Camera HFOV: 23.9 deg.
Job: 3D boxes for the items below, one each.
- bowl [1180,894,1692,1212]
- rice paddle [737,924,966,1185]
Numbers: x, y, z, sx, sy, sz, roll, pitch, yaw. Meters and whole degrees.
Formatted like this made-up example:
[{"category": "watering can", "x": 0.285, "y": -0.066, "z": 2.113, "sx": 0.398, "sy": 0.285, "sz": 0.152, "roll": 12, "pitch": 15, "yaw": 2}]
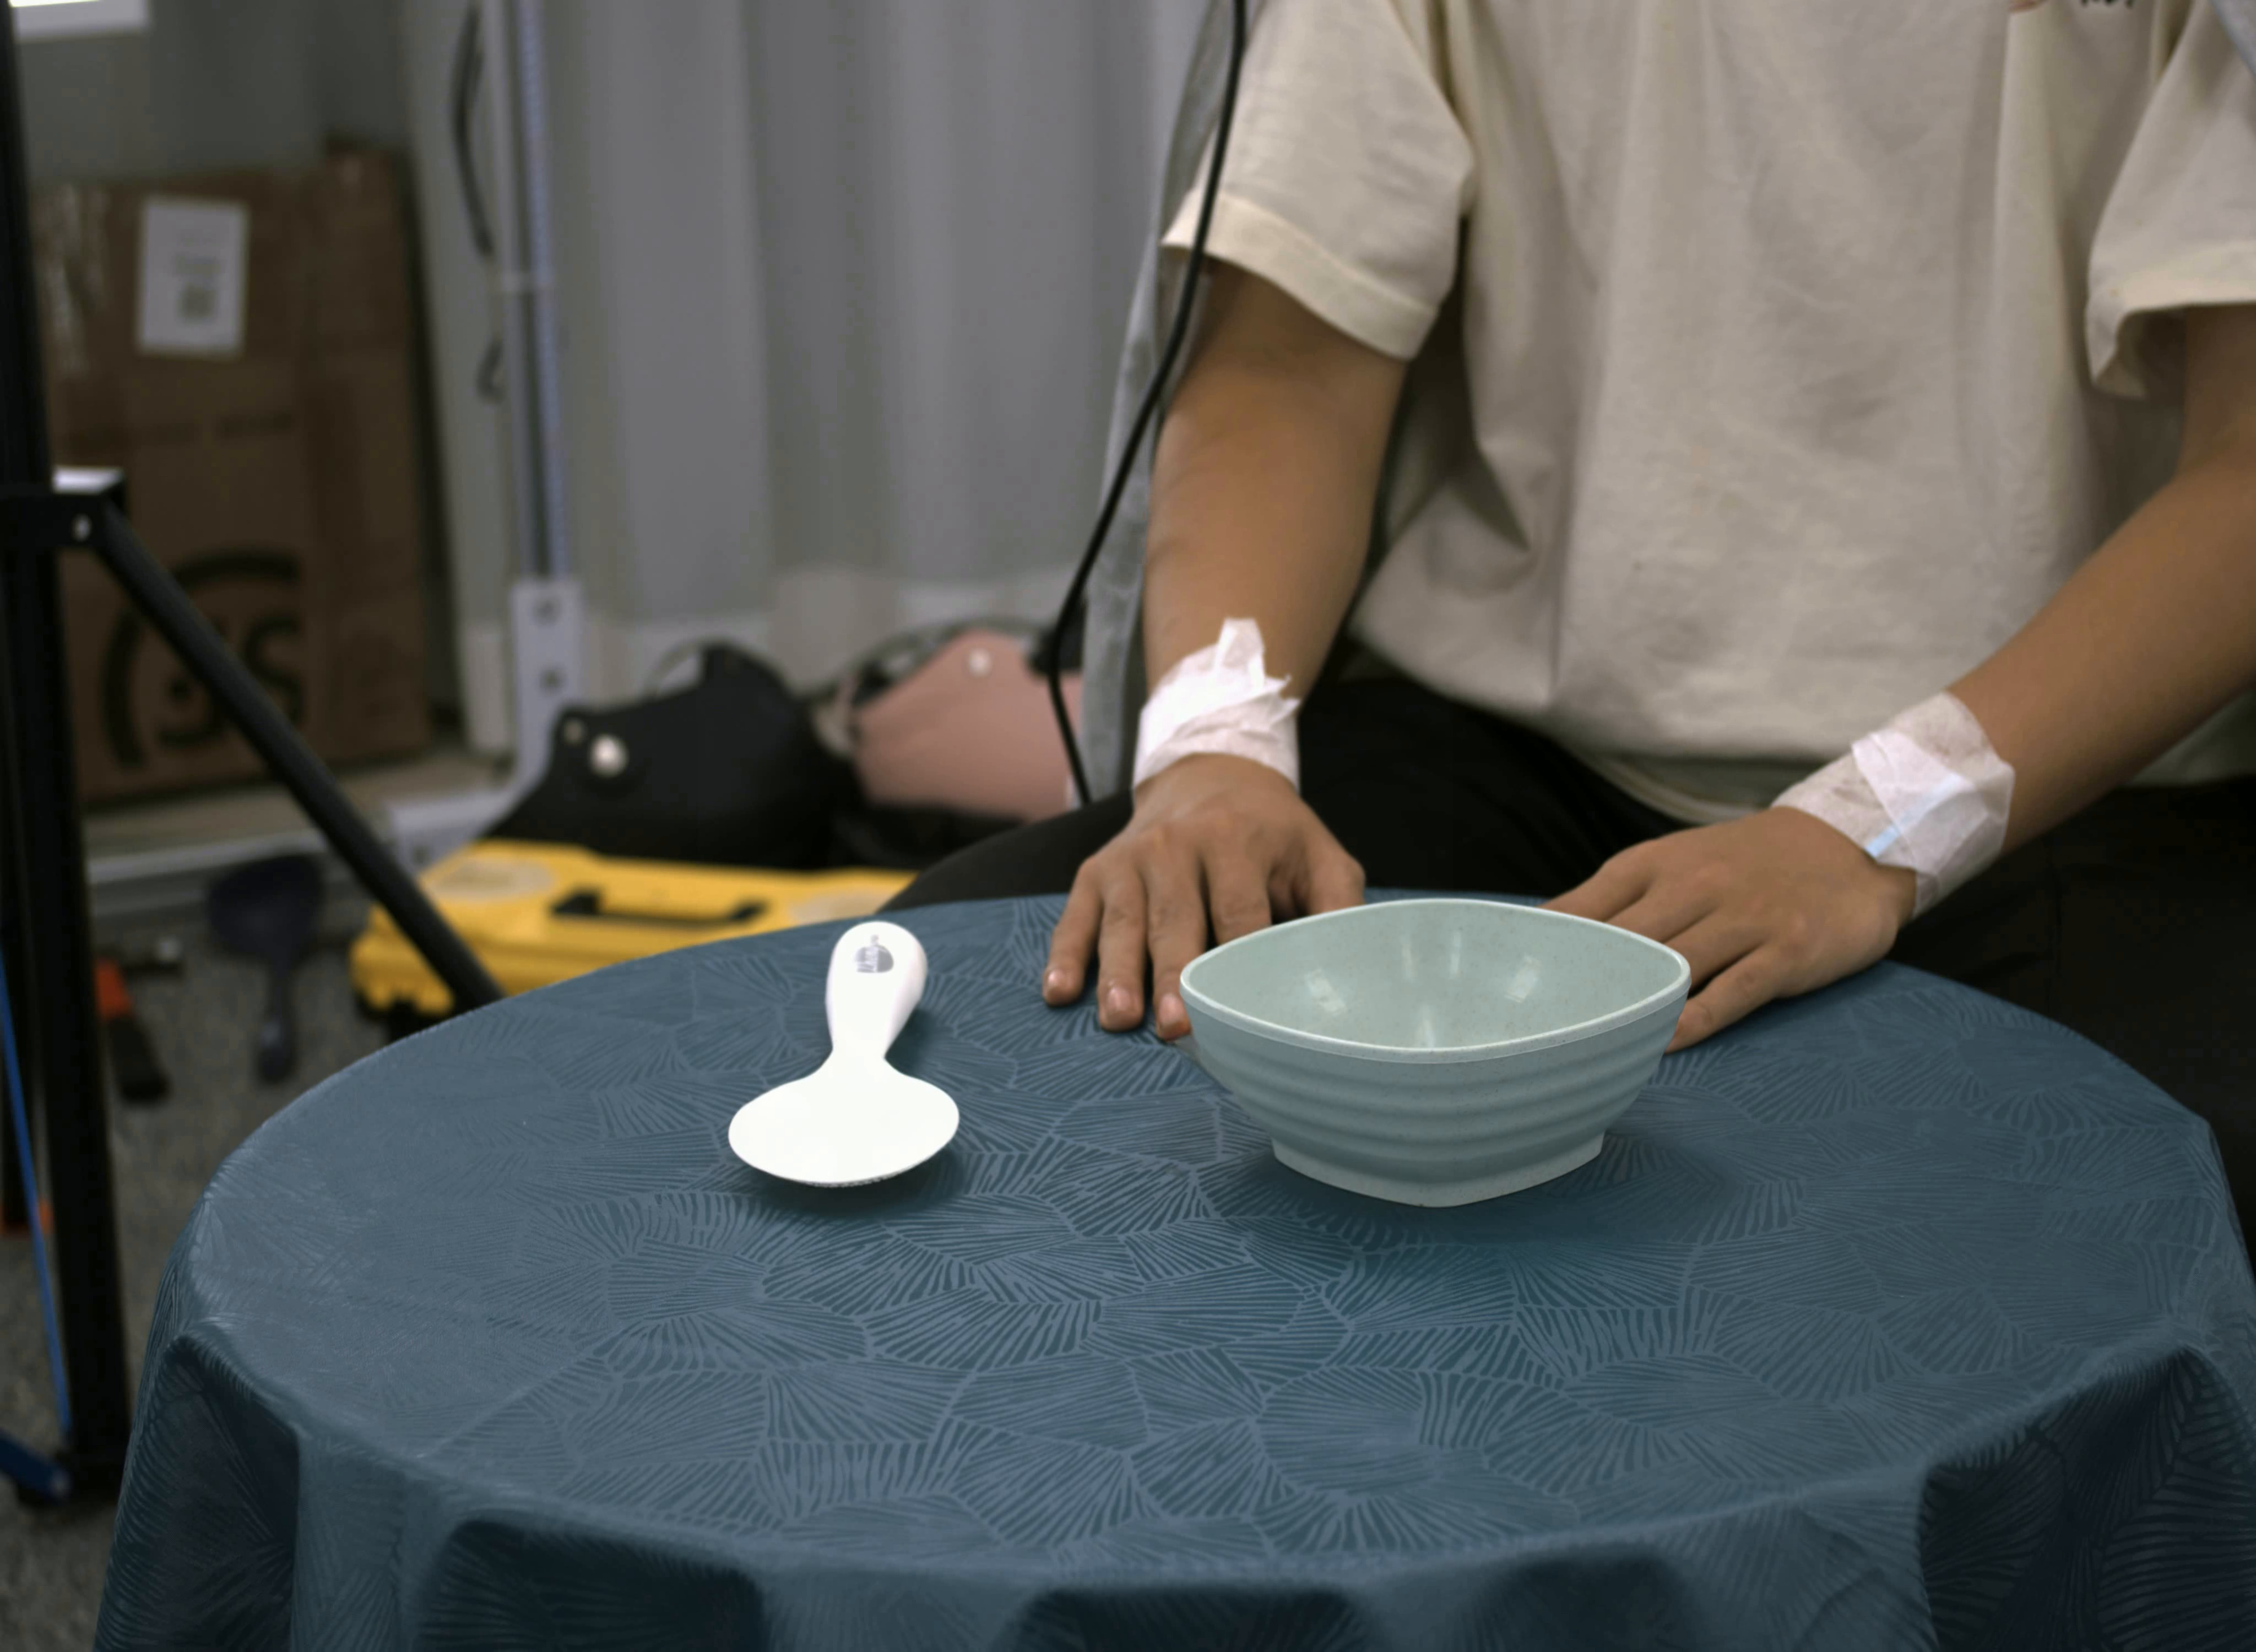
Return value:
[{"category": "bowl", "x": 0.092, "y": 0.070, "z": 1.570, "sx": 0.151, "sy": 0.058, "sz": 0.152, "roll": -5, "pitch": 16, "yaw": 0}, {"category": "rice paddle", "x": -0.082, "y": 0.073, "z": 1.640, "sx": 0.068, "sy": 0.029, "sz": 0.206, "roll": -4, "pitch": 15, "yaw": 2}]
